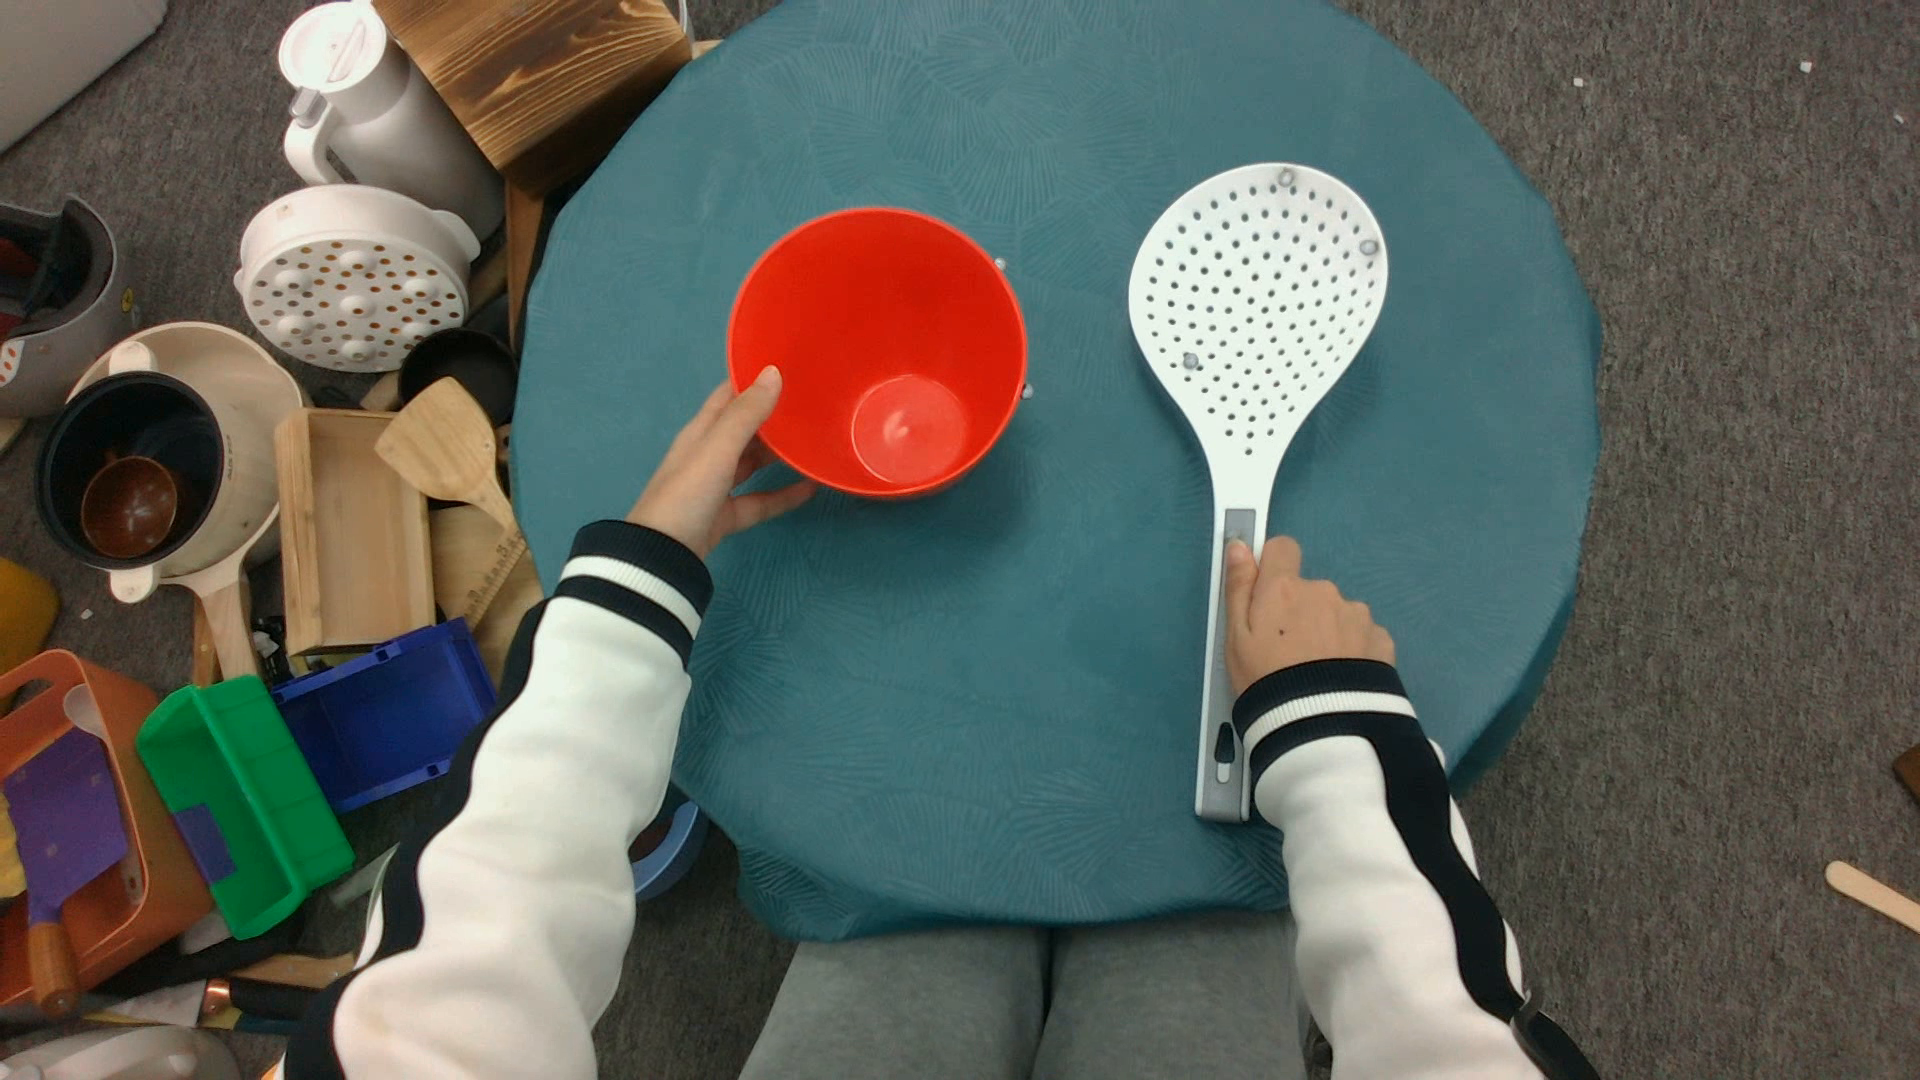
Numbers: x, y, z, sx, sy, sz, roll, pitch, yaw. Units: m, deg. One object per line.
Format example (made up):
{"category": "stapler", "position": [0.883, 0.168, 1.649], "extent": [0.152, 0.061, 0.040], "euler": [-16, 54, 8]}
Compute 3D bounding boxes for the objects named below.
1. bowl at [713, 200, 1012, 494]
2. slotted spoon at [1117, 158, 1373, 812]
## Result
{"category": "bowl", "position": [-0.047, -0.087, 0.718], "extent": [0.148, 0.104, 0.148], "euler": [0, 72, 0]}
{"category": "slotted spoon", "position": [0.141, -0.036, 0.721], "extent": [0.136, 0.045, 0.350], "euler": [2, 72, 18]}
